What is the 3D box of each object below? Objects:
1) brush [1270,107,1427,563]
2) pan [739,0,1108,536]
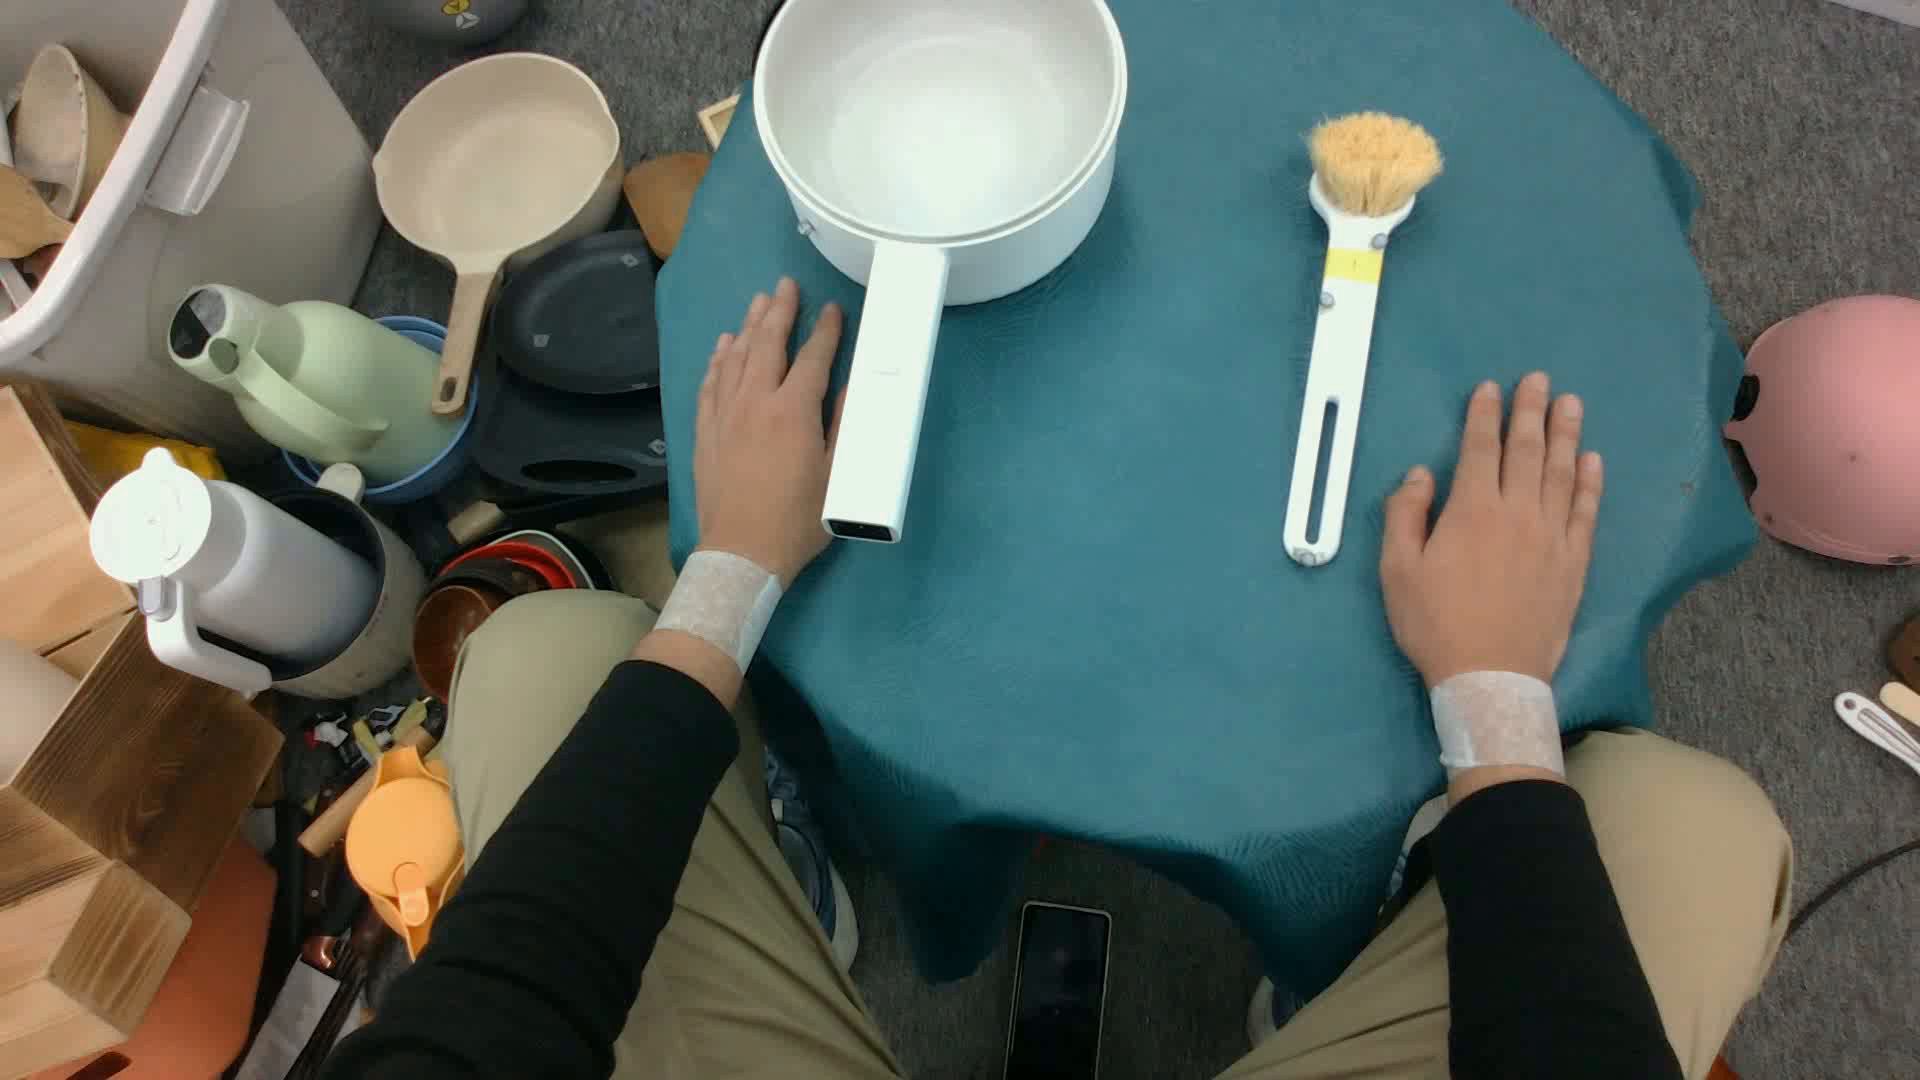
[{"bbox_3d":[0.207,-0.120,0.760,0.068,0.056,0.267,10,74,11],"label":"brush"},{"bbox_3d":[-0.030,-0.165,0.767,0.201,0.102,0.355,8,74,4],"label":"pan"}]
